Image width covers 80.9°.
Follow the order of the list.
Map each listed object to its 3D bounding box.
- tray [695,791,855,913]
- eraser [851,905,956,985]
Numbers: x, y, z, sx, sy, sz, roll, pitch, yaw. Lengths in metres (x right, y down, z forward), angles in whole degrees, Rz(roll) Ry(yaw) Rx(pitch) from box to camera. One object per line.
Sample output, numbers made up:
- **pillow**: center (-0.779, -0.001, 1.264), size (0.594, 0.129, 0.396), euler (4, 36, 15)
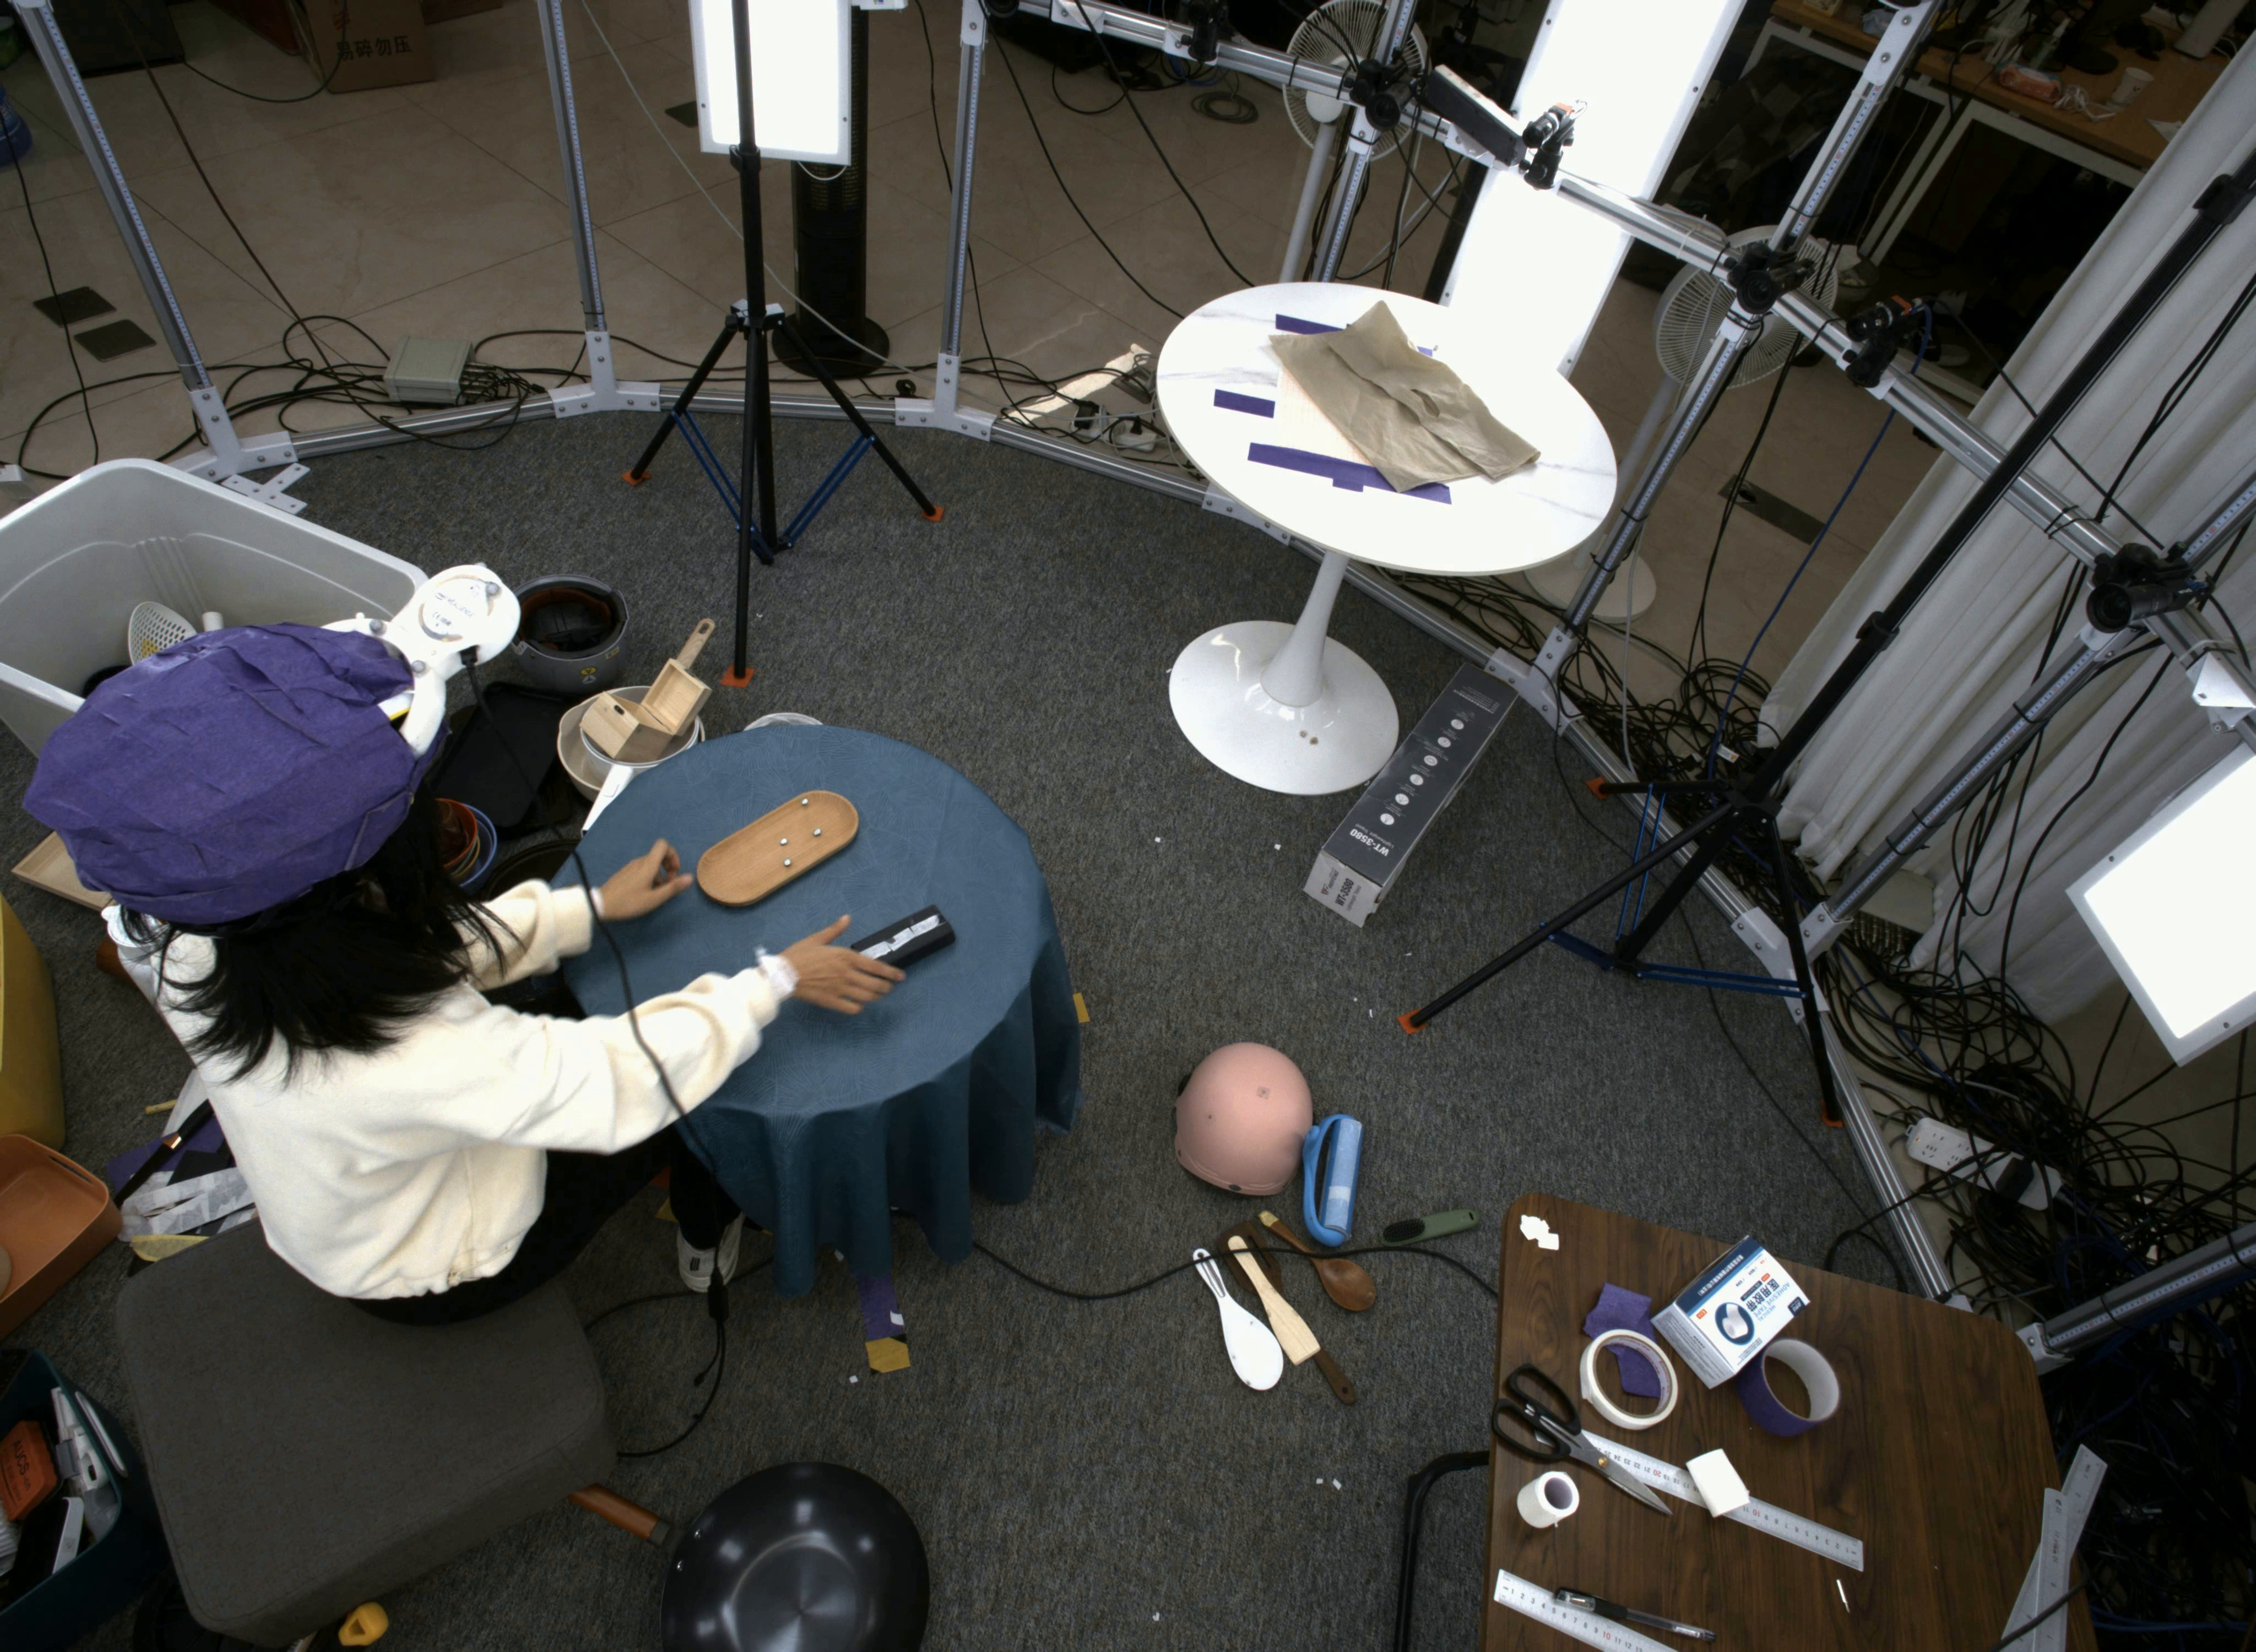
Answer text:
- **tray**: center (-0.455, 0.031, 1.677), size (0.099, 0.021, 0.231), euler (40, 56, 17)
- **eraser**: center (-0.280, 0.145, 1.629), size (0.126, 0.031, 0.052), euler (-28, 58, -32)
